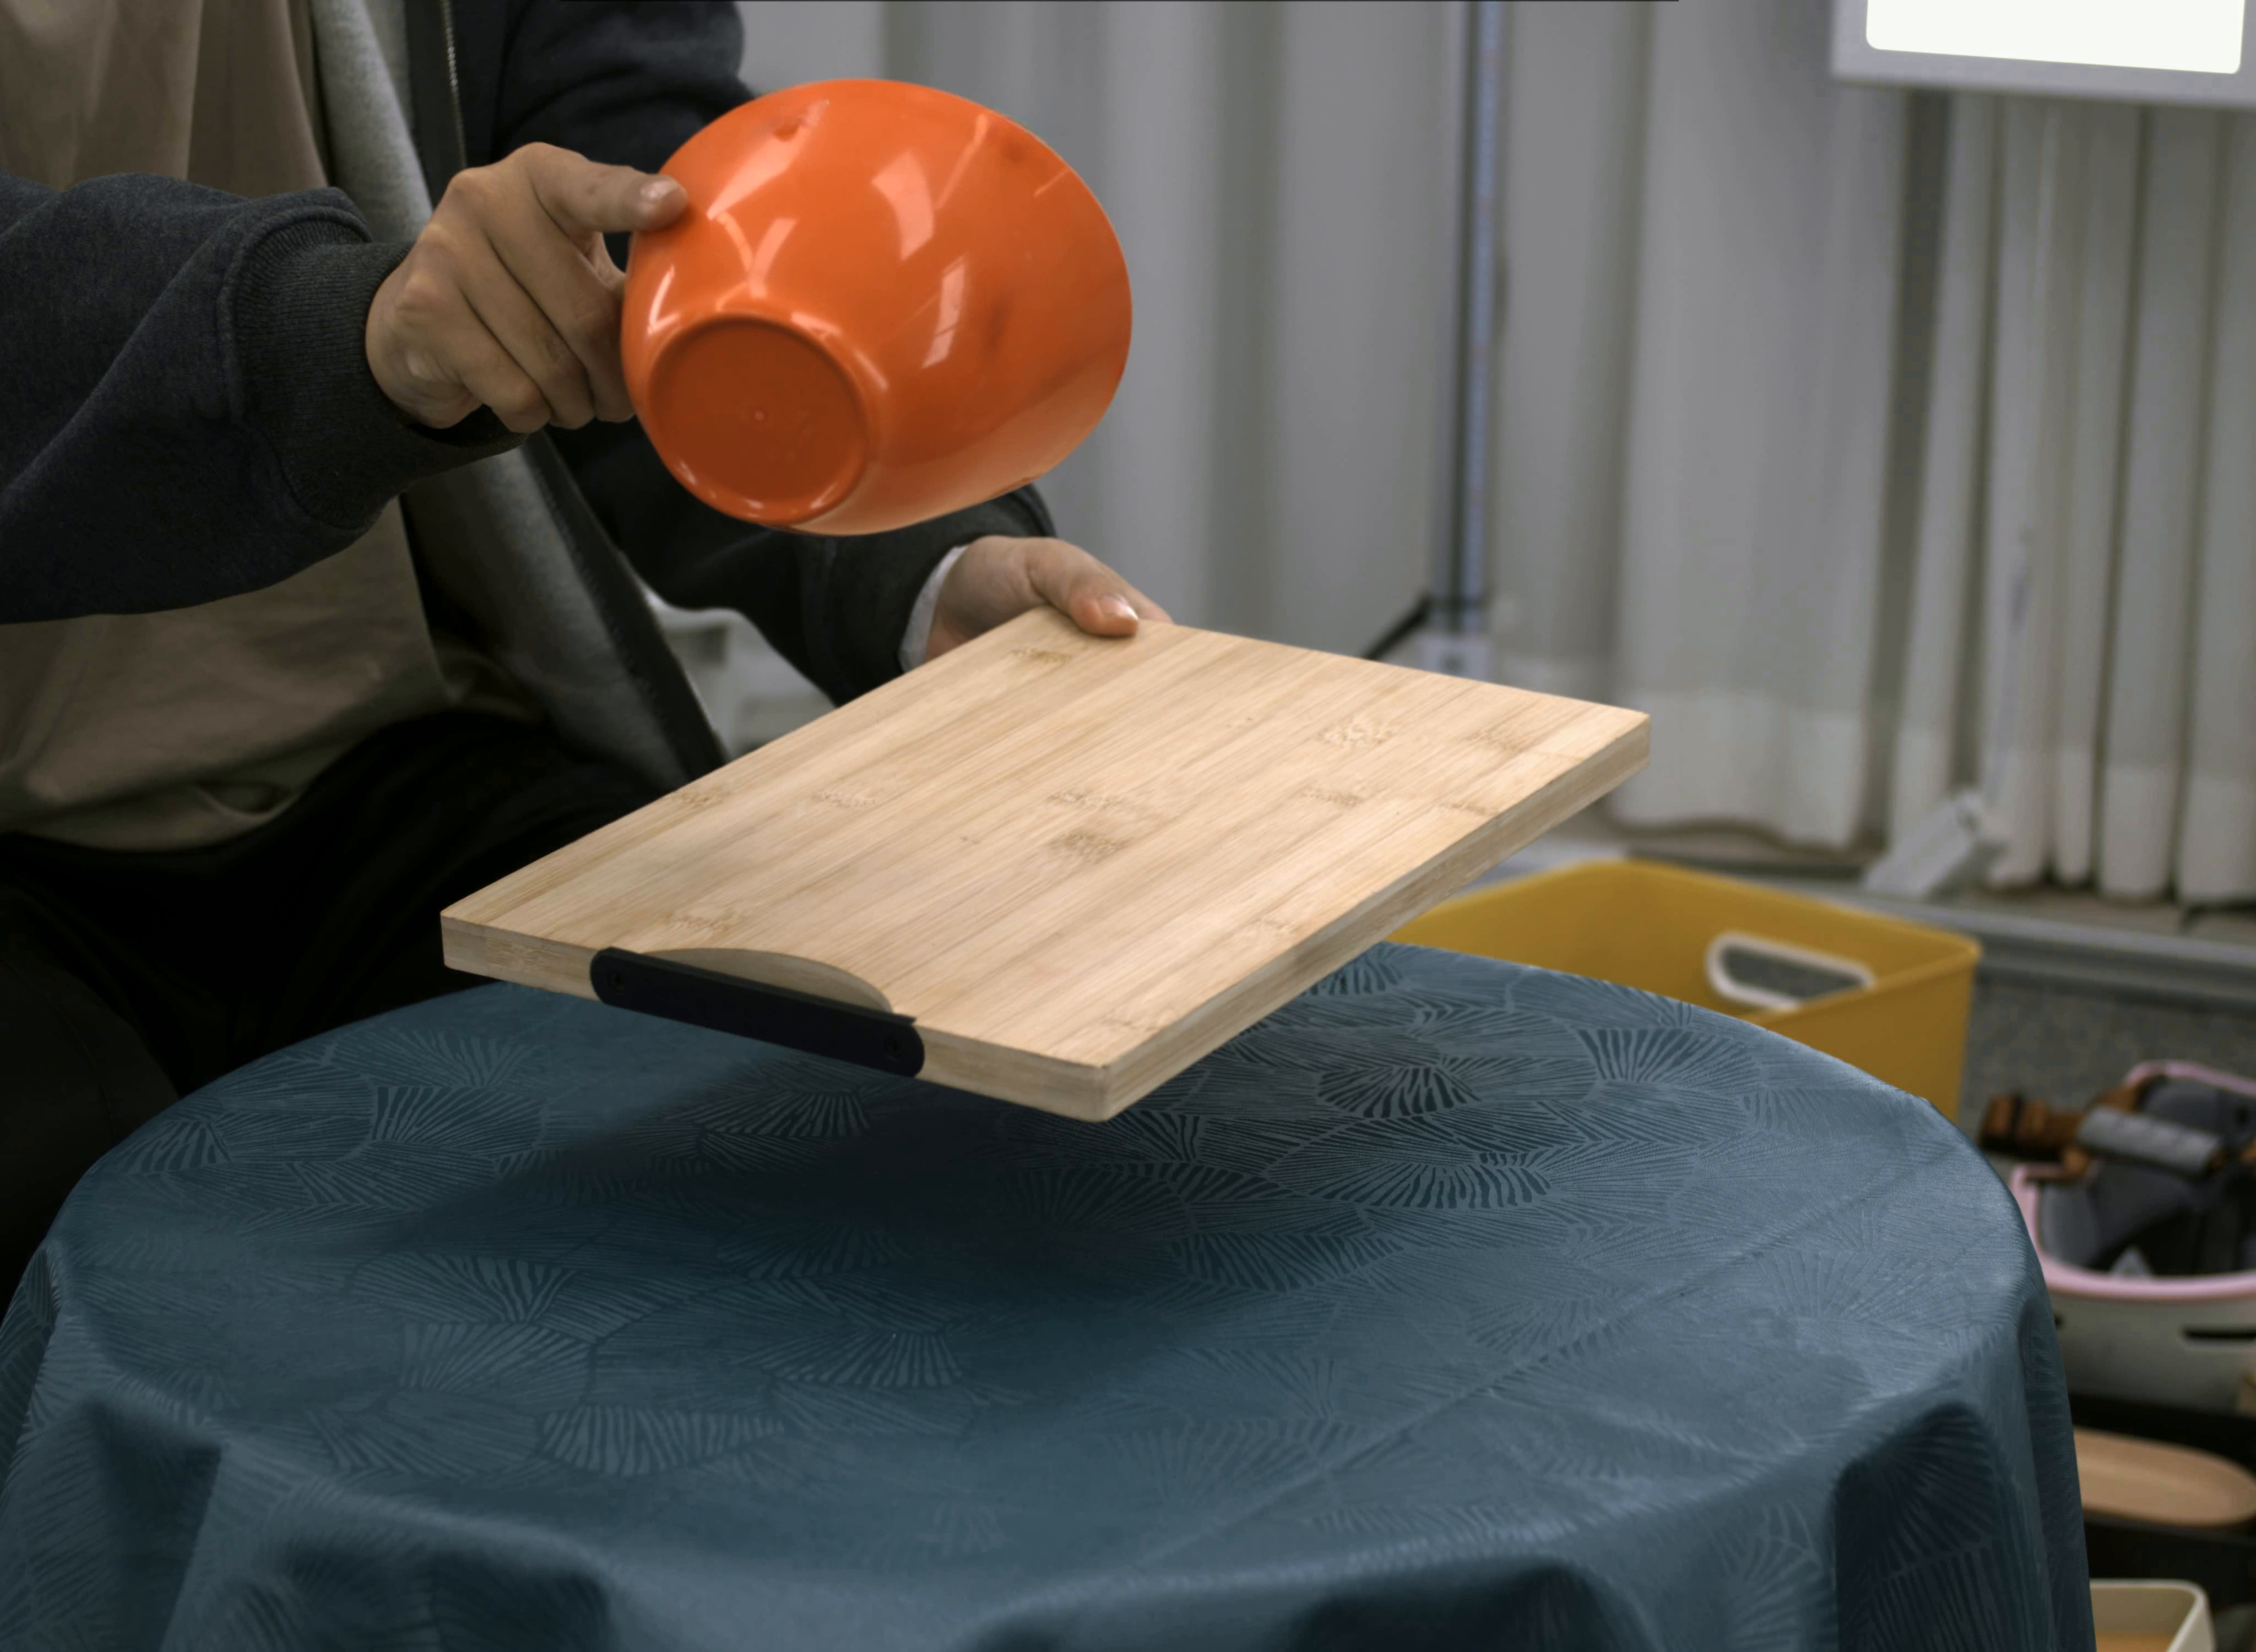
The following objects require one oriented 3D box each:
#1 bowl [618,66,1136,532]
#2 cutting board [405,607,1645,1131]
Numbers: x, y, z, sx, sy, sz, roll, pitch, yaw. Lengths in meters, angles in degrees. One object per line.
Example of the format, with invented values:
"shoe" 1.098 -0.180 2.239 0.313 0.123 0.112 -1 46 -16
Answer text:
"bowl" -0.081 -0.134 1.494 0.147 0.150 0.104 5 33 14
"cutting board" -0.022 0.005 1.656 0.248 0.024 0.349 11 24 29
